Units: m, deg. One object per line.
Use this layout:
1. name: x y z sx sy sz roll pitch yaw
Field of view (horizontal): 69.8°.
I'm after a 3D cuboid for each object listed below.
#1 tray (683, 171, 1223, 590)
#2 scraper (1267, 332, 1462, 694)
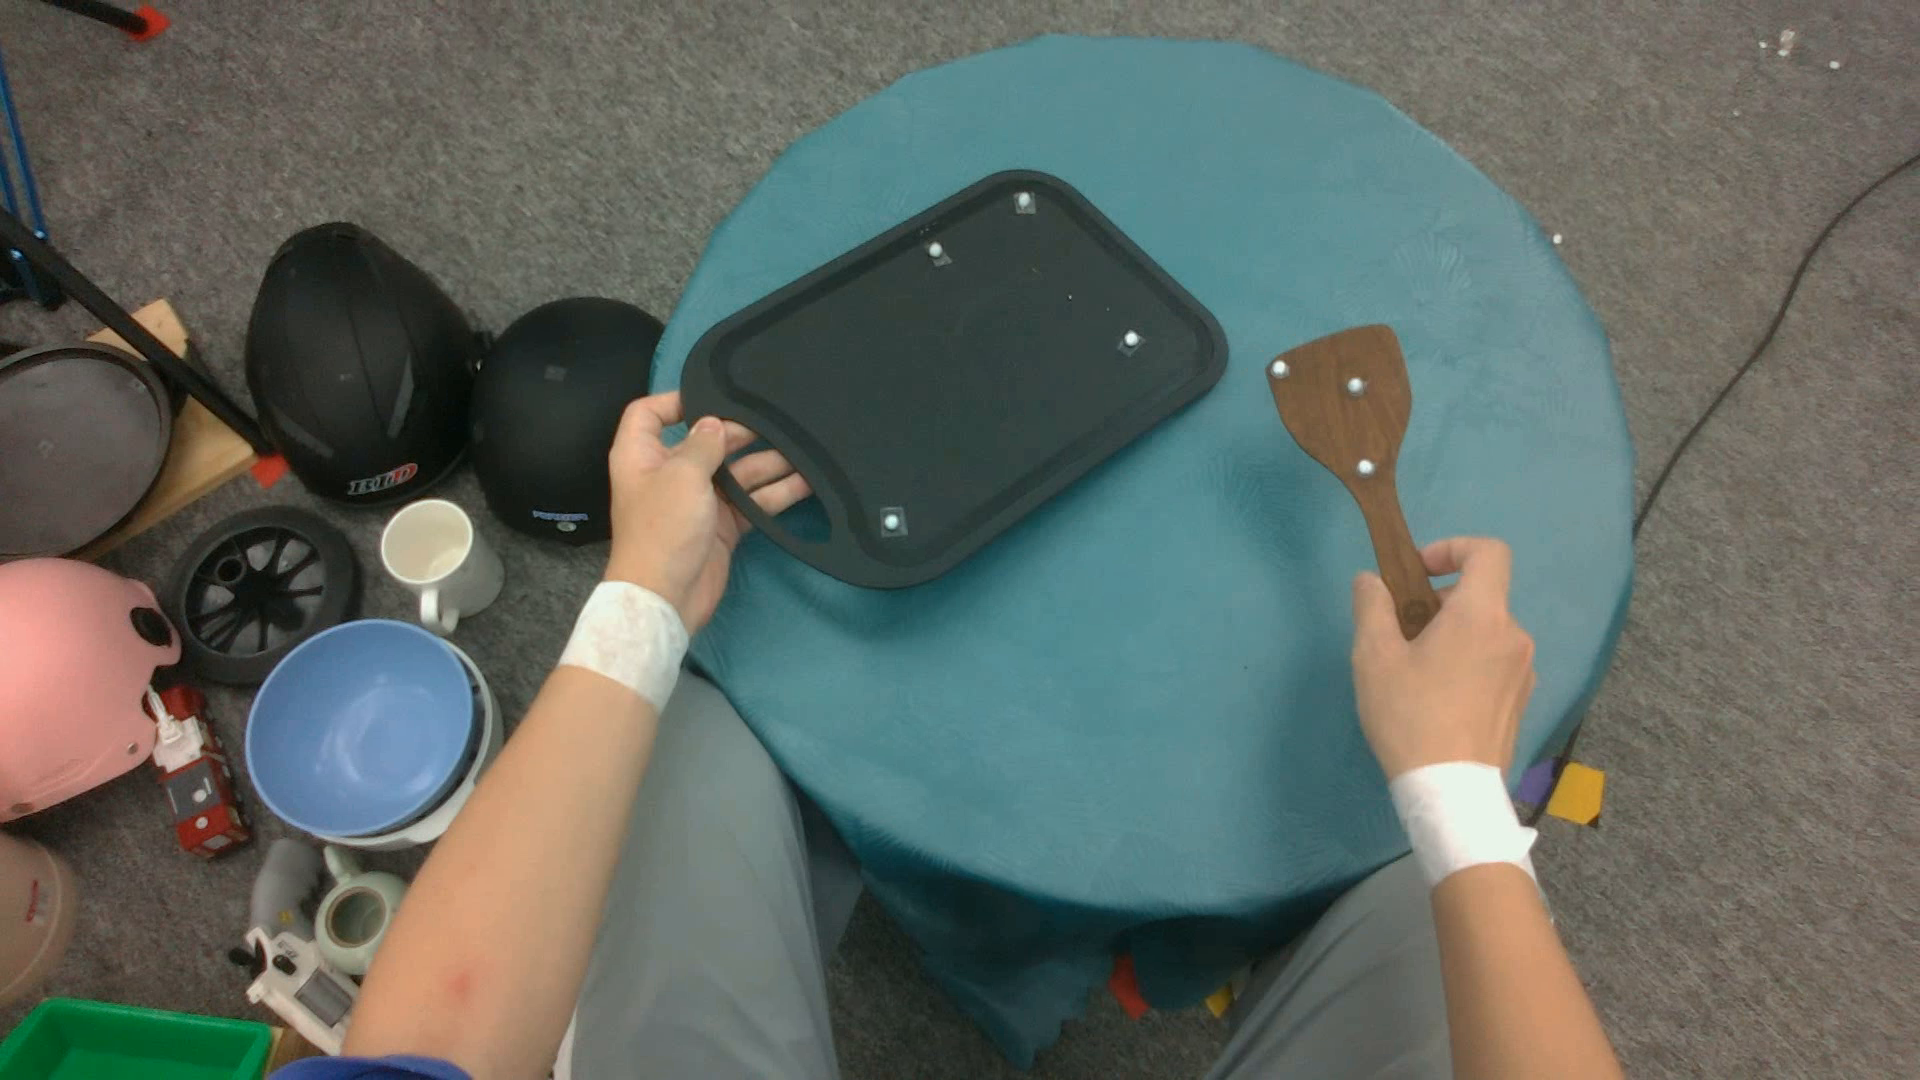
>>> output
1. tray: -0.003 -0.105 0.835 0.326 0.010 0.211 -35 71 -24
2. scraper: 0.231 -0.017 0.759 0.076 0.011 0.212 -16 67 11
